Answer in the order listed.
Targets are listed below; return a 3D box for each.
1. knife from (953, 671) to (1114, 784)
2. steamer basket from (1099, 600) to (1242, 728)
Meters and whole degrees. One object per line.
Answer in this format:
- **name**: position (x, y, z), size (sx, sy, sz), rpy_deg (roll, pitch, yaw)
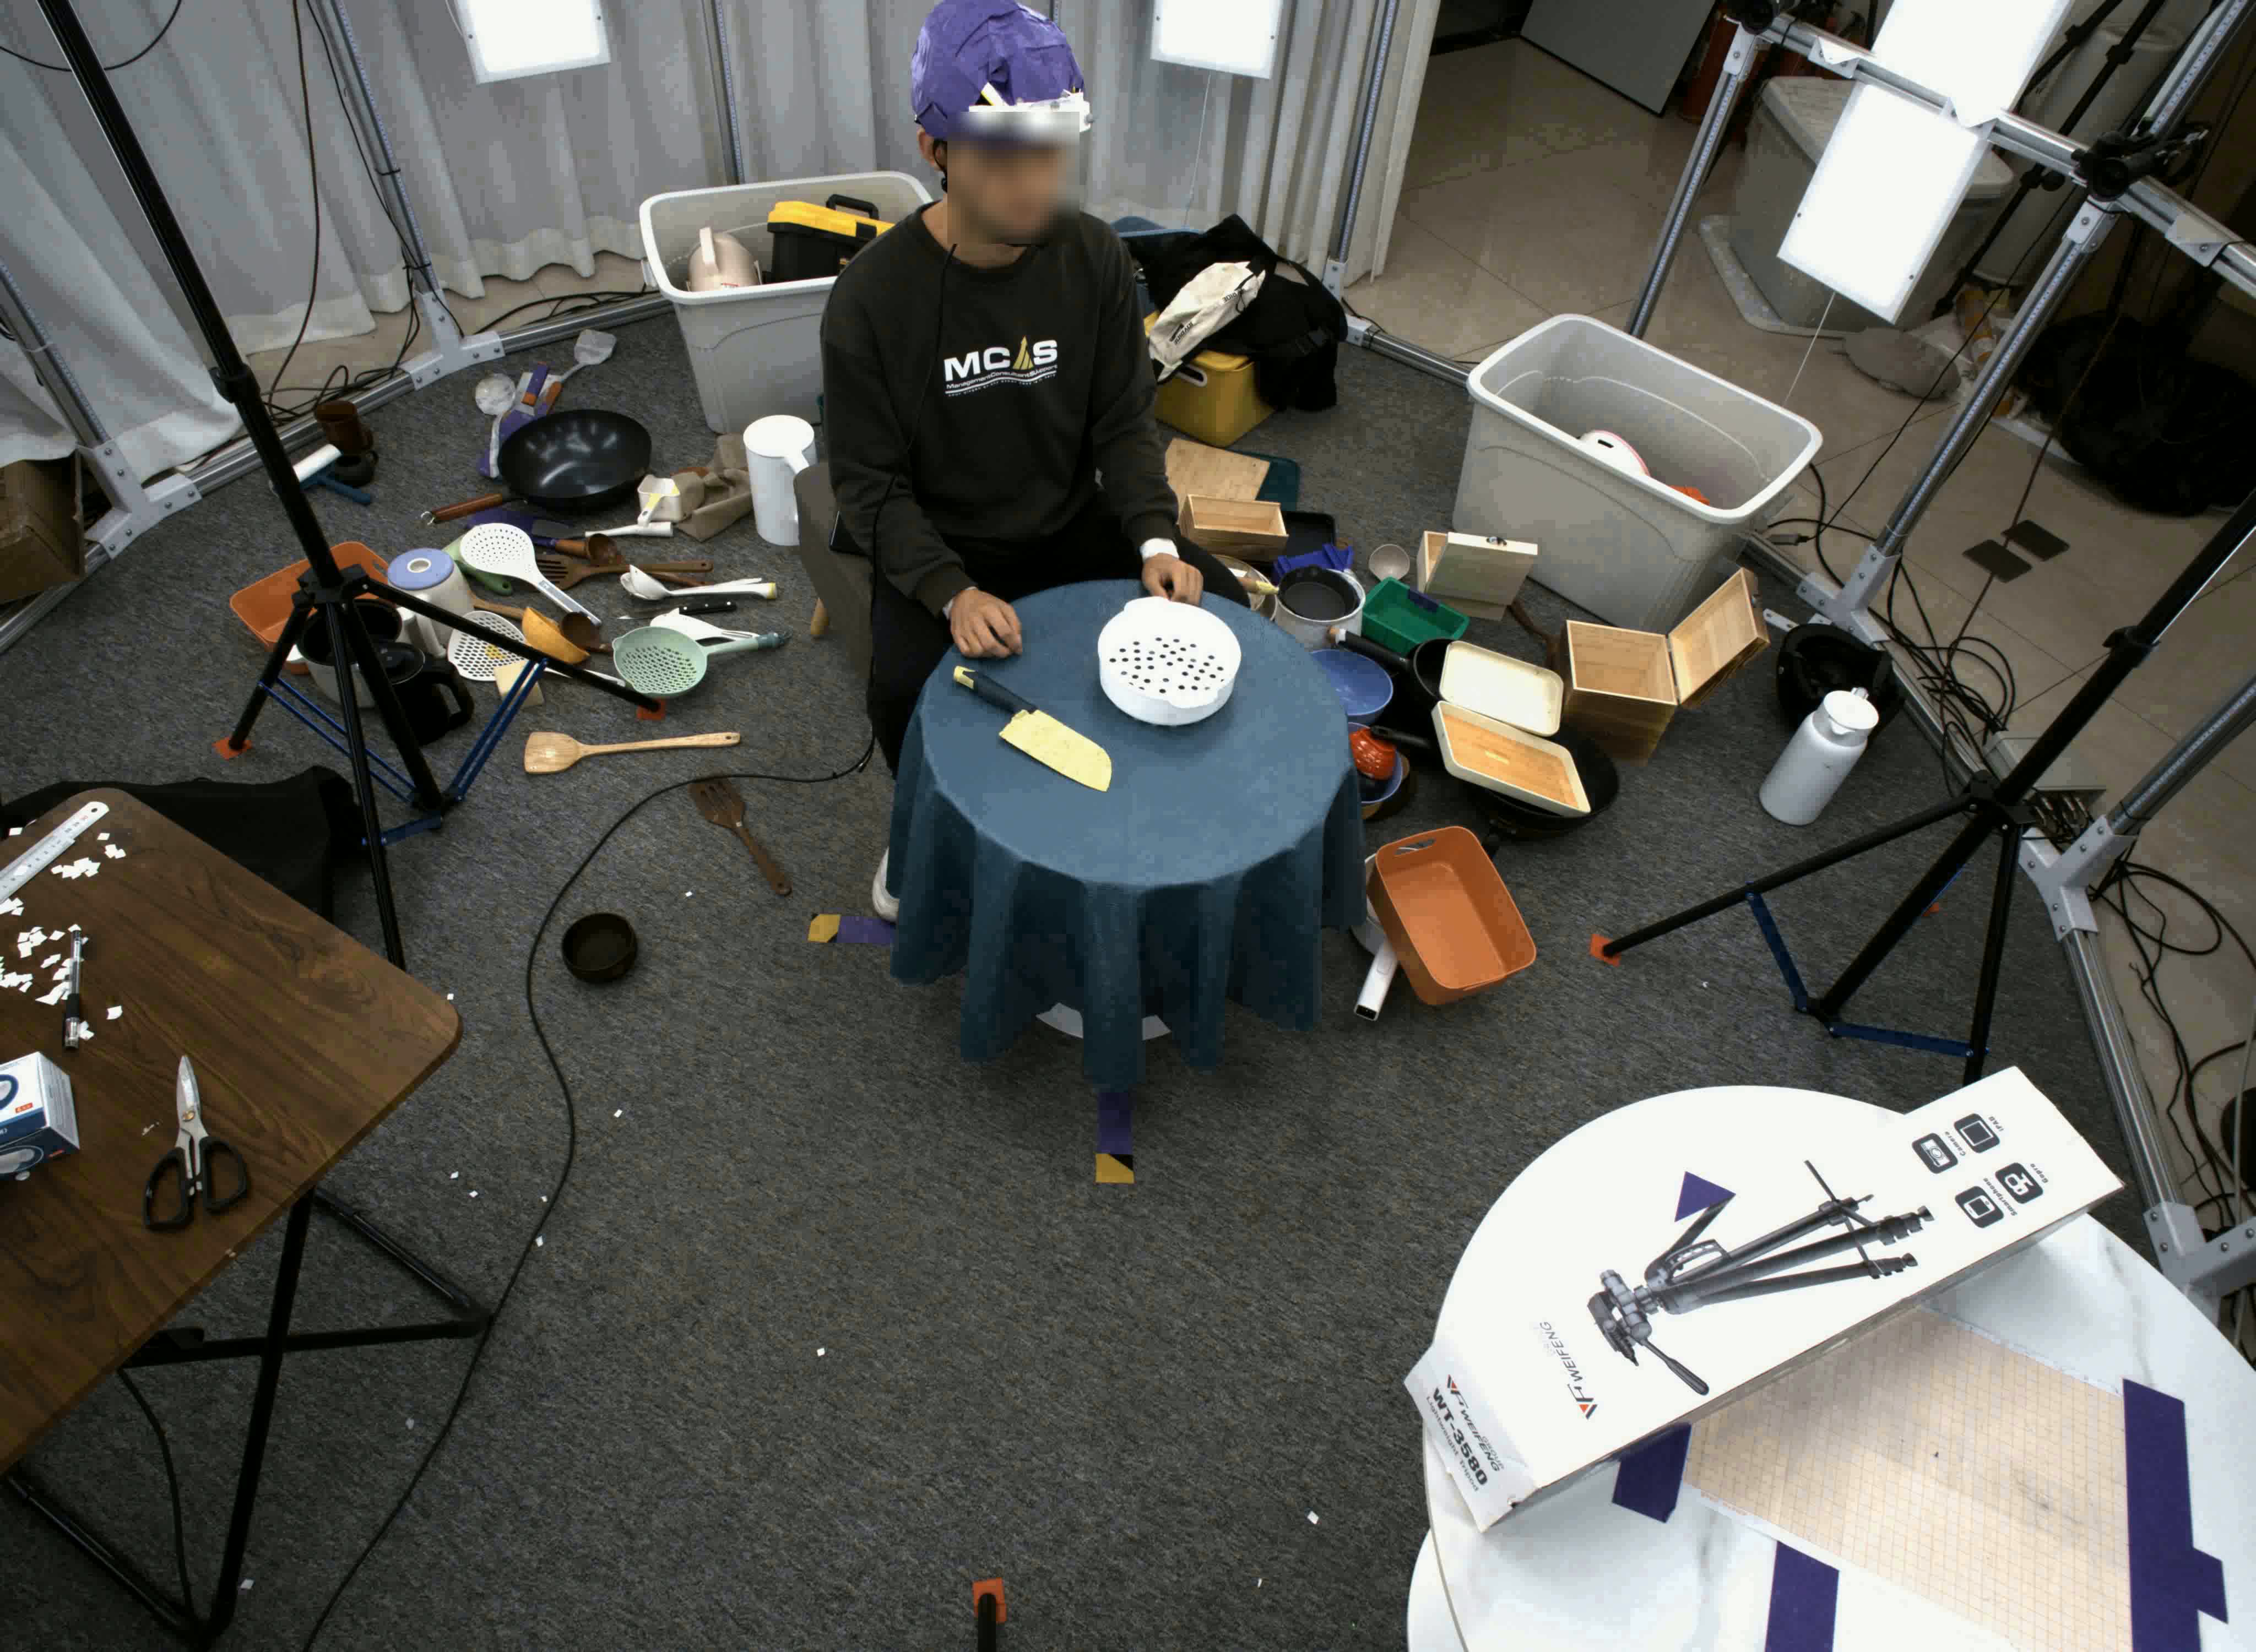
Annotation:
- **knife**: position (-0.136, -0.135, 1.765), size (0.293, 0.026, 0.082), rpy_deg (33, 53, 21)
- **steamer basket**: position (0.058, -0.227, 1.825), size (0.202, 0.067, 0.236), rpy_deg (-11, 50, -14)
